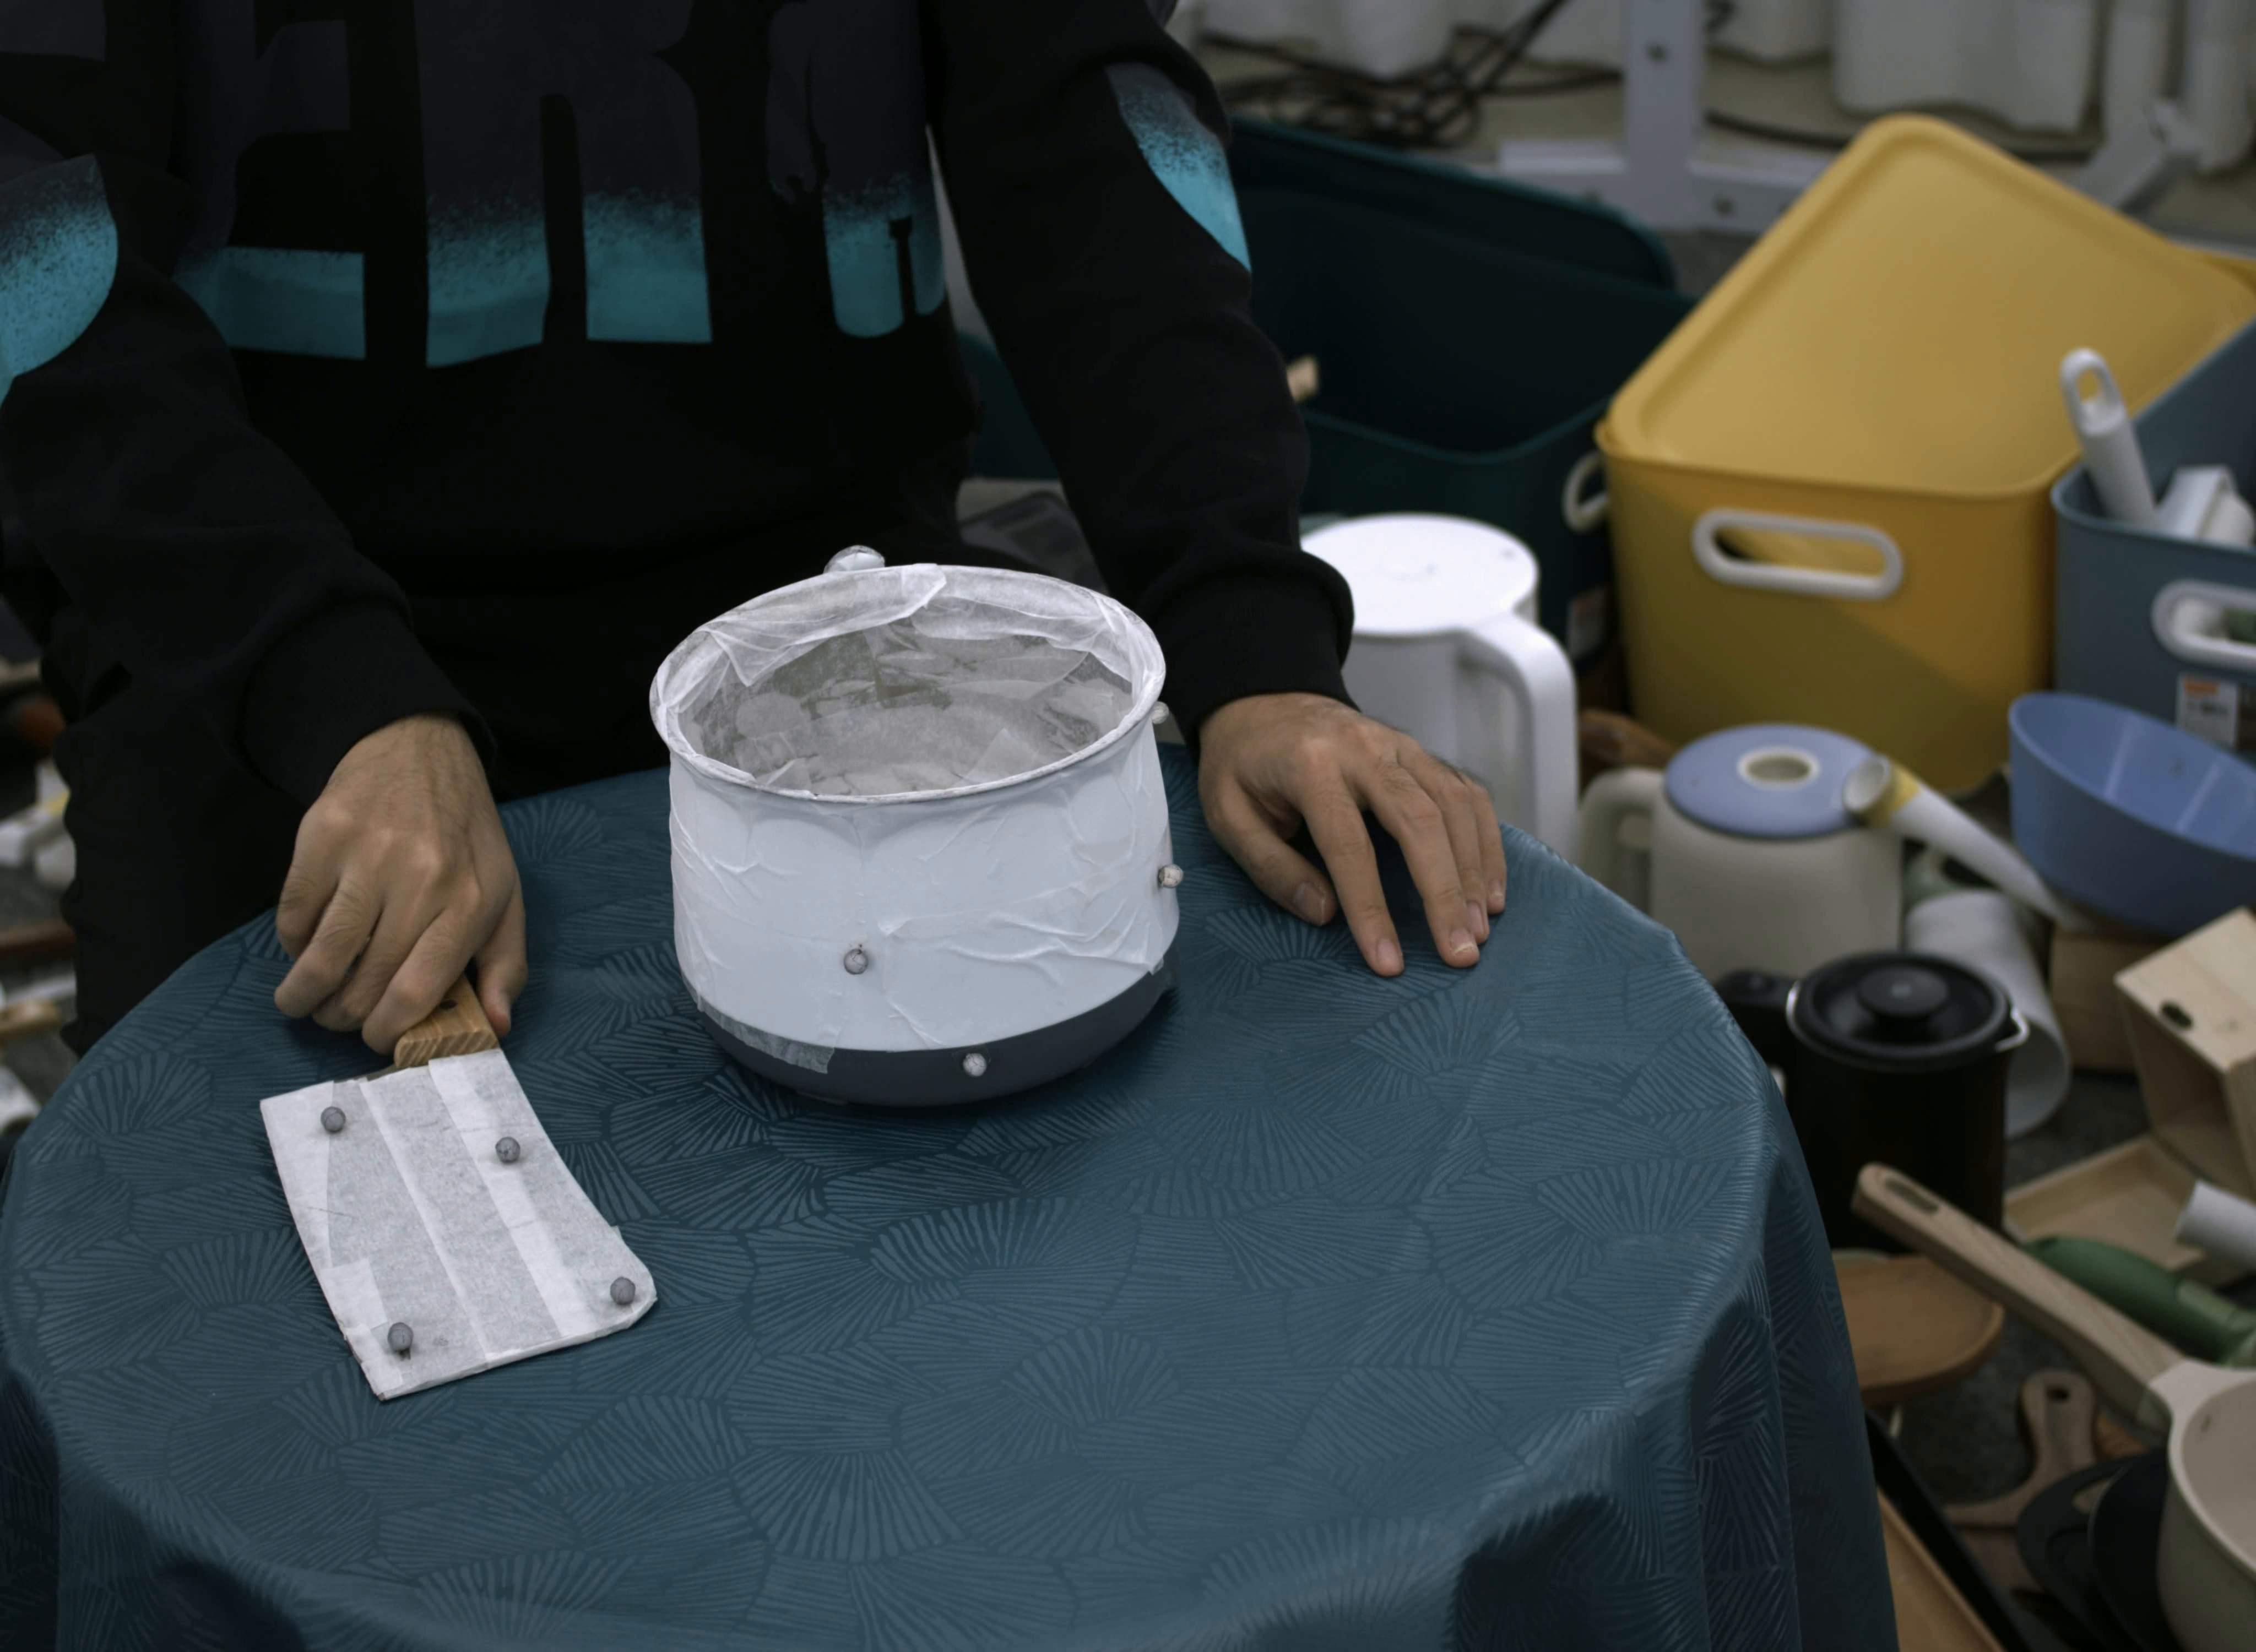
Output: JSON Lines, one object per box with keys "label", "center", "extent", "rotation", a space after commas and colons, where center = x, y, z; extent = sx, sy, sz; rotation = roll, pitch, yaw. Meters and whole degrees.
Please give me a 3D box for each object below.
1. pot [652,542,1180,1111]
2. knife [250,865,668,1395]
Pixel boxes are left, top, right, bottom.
{"label": "pot", "center": [-0.078, -0.007, 1.970], "extent": [0.178, 0.135, 0.236], "rotation": [-8, 29, -11]}
{"label": "knife", "center": [-0.239, 0.099, 1.910], "extent": [0.114, 0.021, 0.319], "rotation": [-10, 31, -13]}
